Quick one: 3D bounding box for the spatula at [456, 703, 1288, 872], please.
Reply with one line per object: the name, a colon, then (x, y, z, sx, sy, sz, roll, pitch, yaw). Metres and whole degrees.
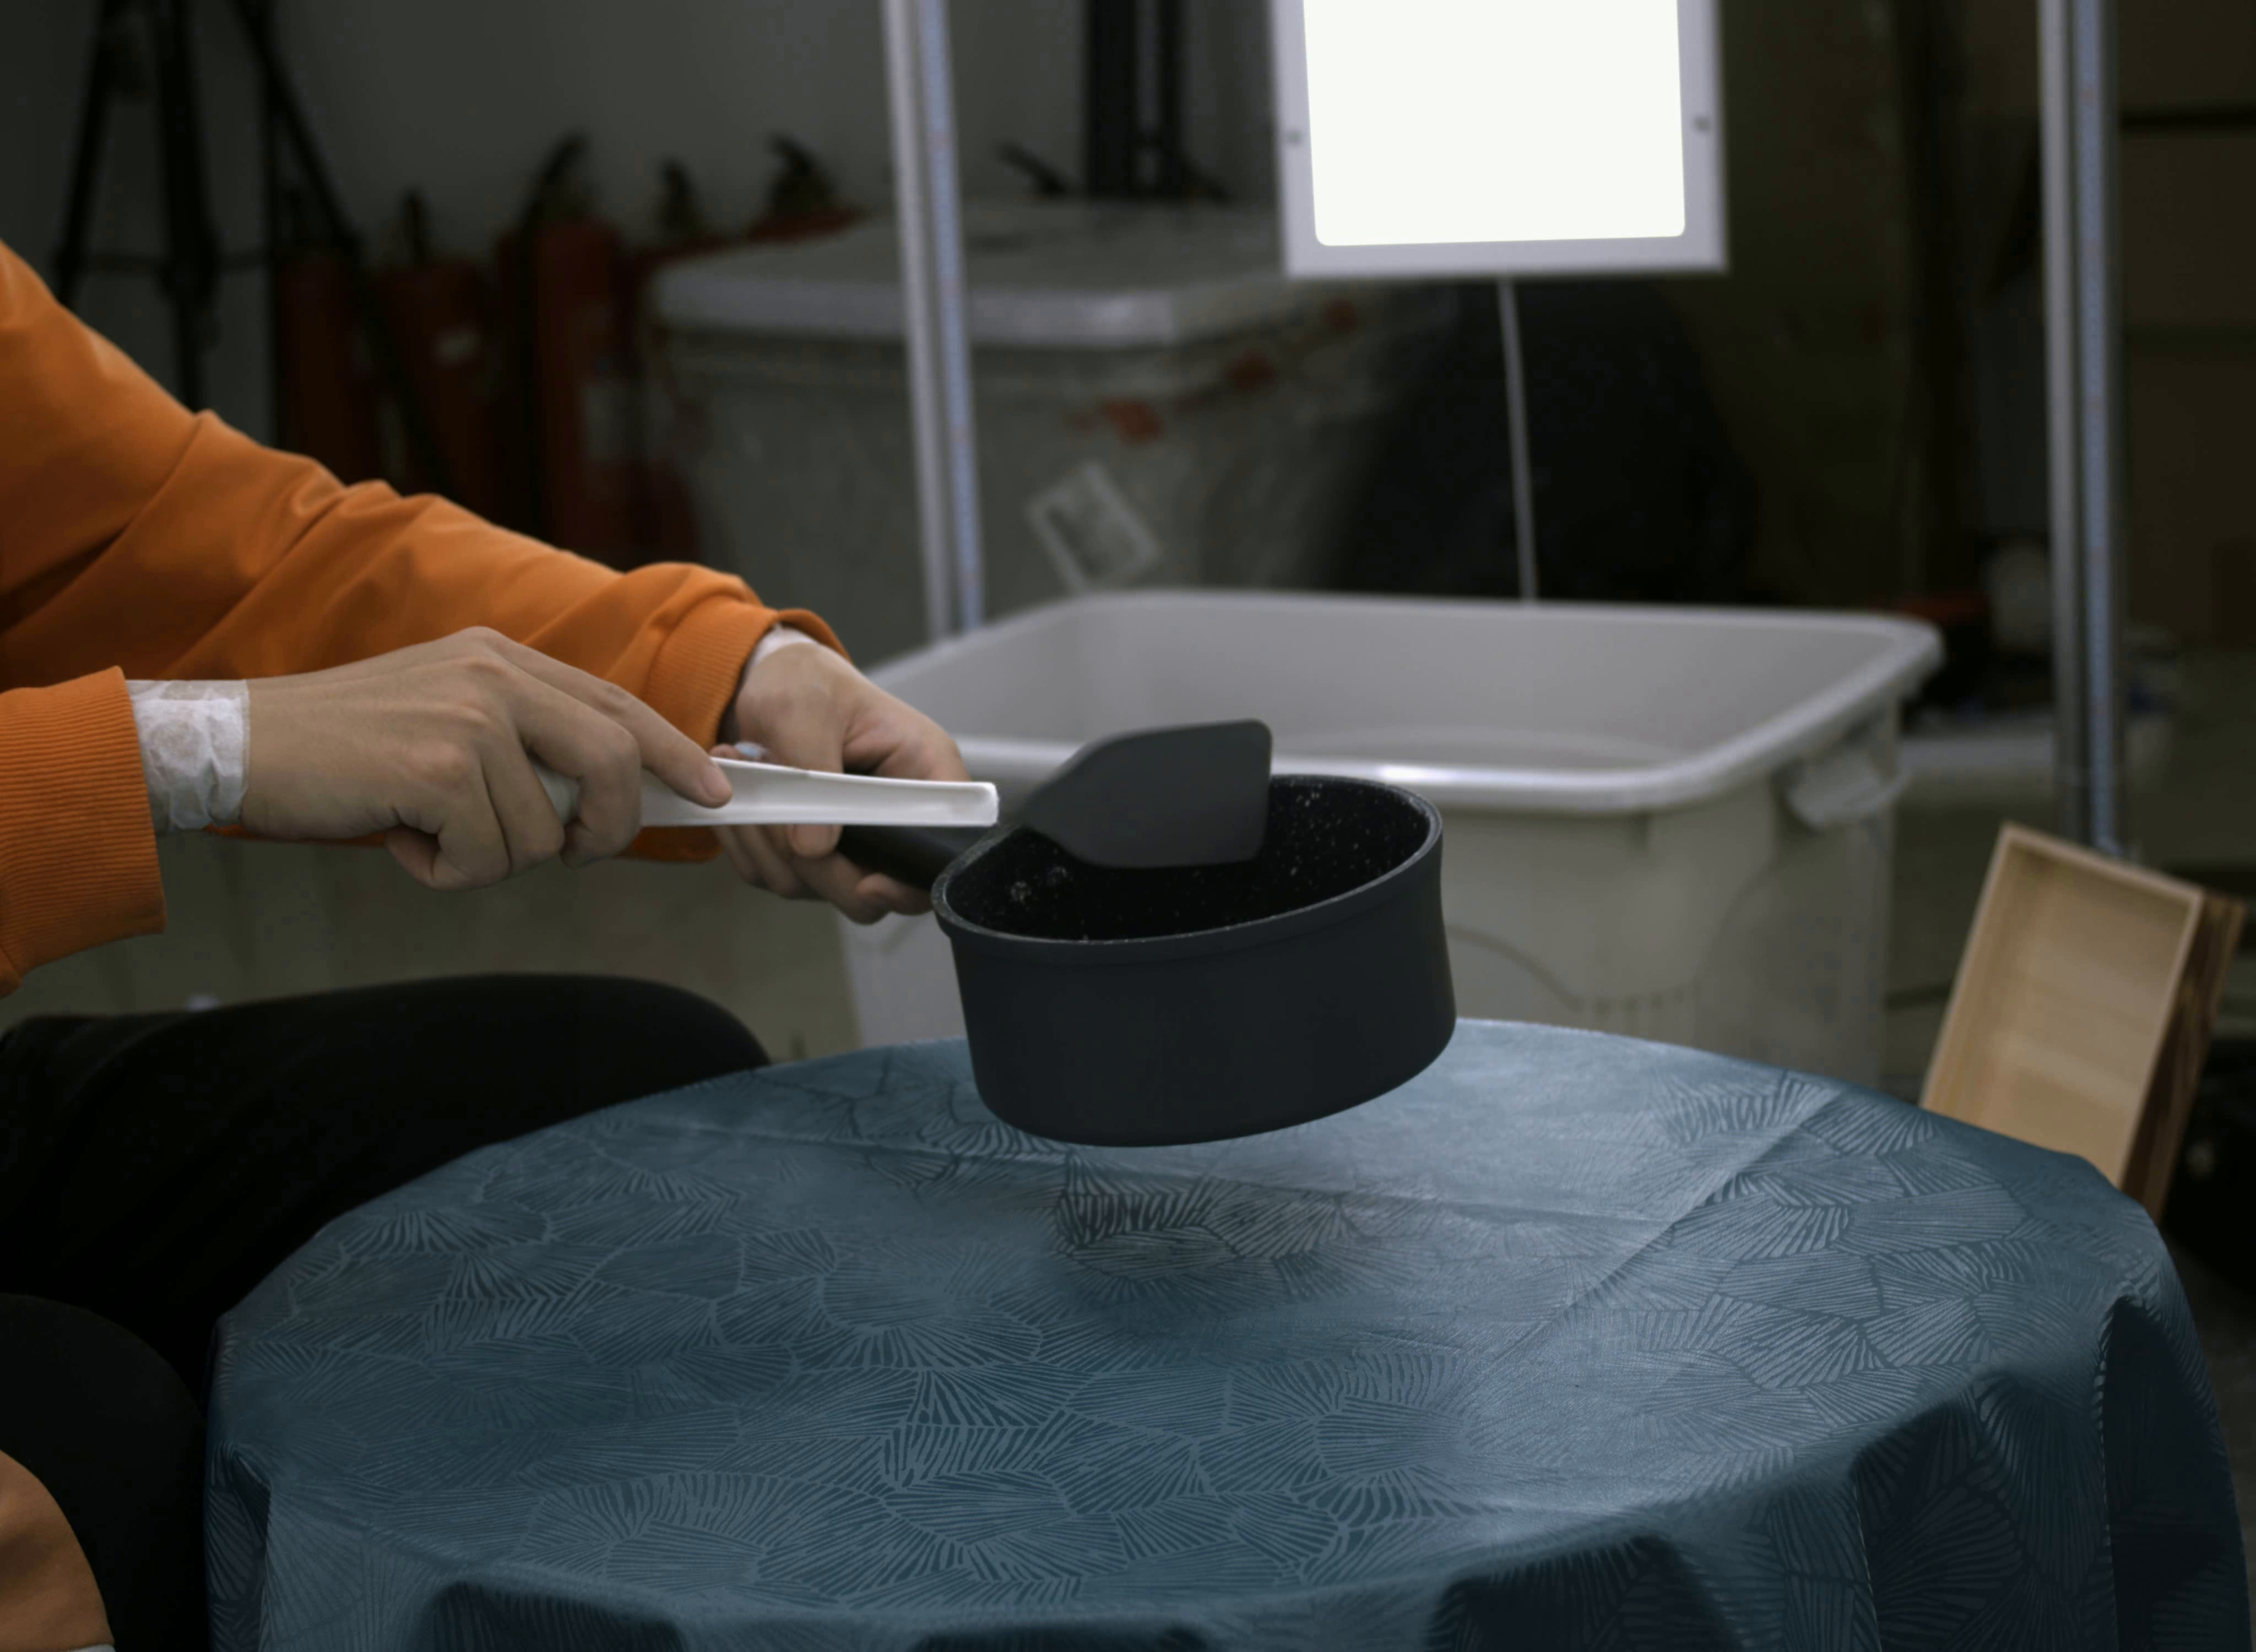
spatula: (-0.081, -0.013, 1.848, 0.283, 0.059, 0.032, 0, 11, -14)

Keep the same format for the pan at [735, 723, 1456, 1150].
pan: (-0.026, 0.030, 1.891, 0.168, 0.087, 0.335, -20, 21, -34)
